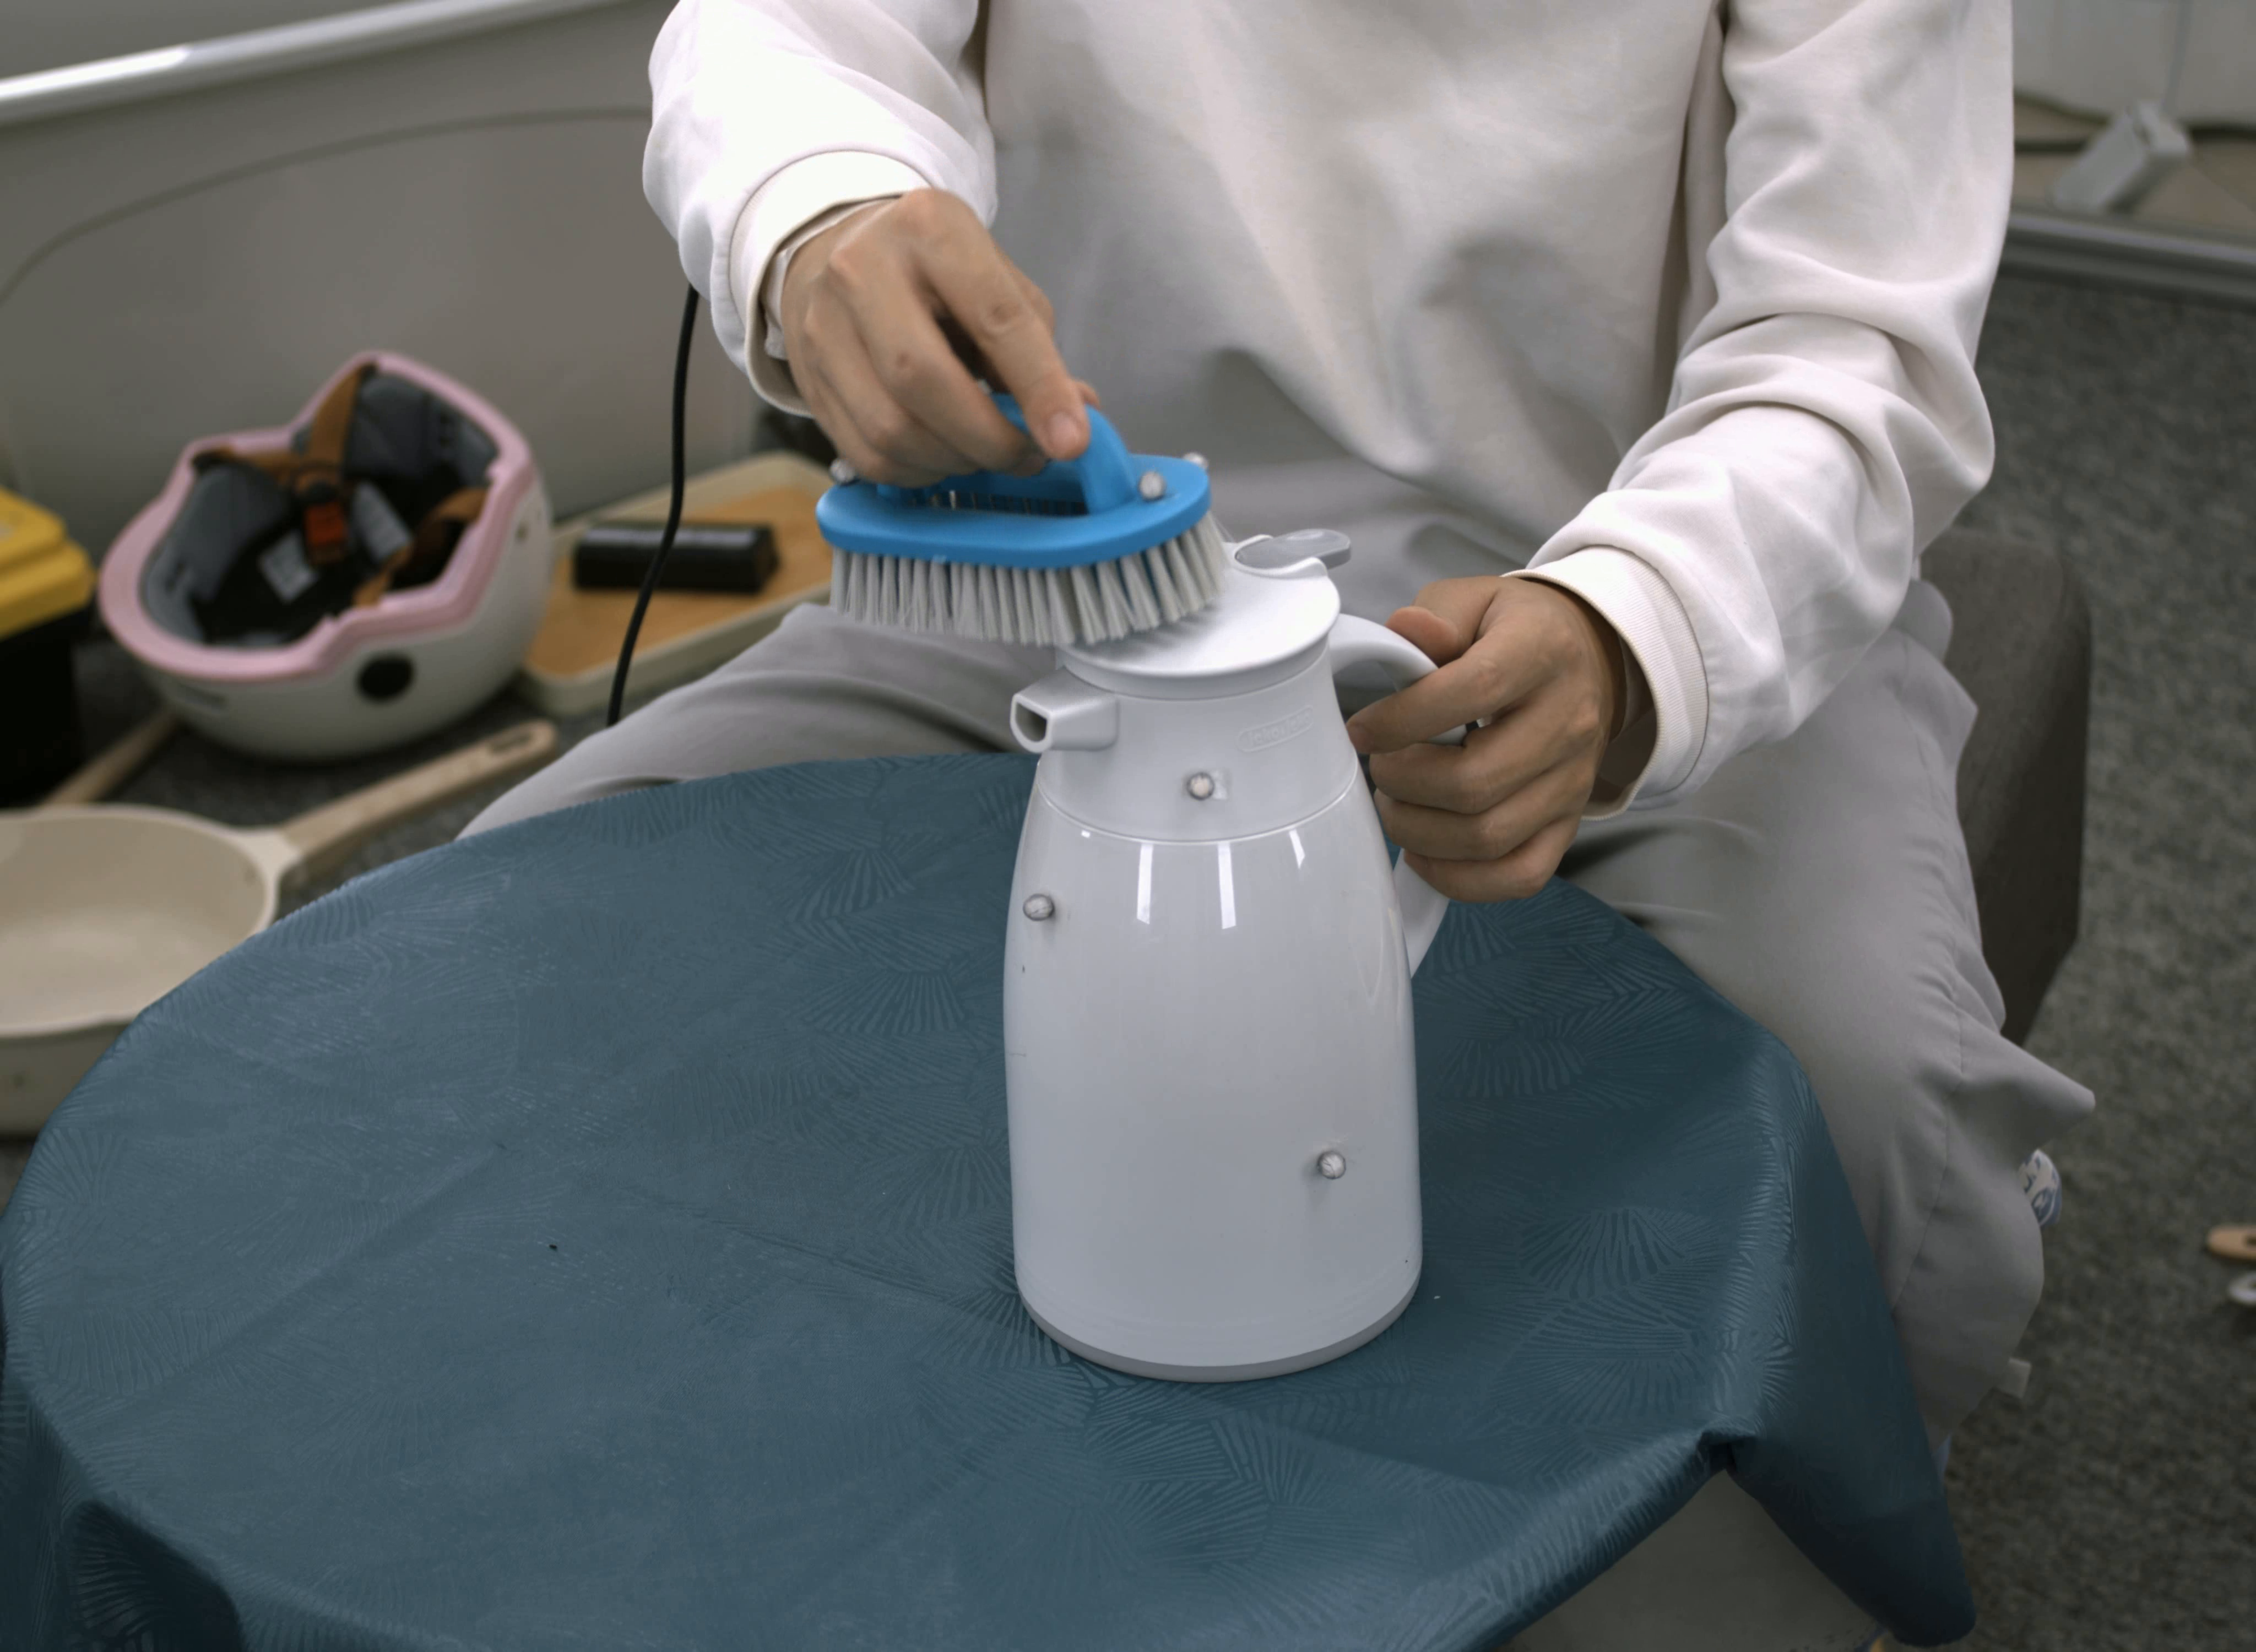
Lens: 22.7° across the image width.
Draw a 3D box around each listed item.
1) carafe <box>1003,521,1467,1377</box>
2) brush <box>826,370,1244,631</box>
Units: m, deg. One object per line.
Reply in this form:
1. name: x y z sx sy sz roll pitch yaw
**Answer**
1. carafe: 0.038 0.027 1.775 0.169 0.246 0.132 -21 31 -34
2. brush: -0.035 -0.107 1.719 0.141 0.063 0.085 7 31 40
